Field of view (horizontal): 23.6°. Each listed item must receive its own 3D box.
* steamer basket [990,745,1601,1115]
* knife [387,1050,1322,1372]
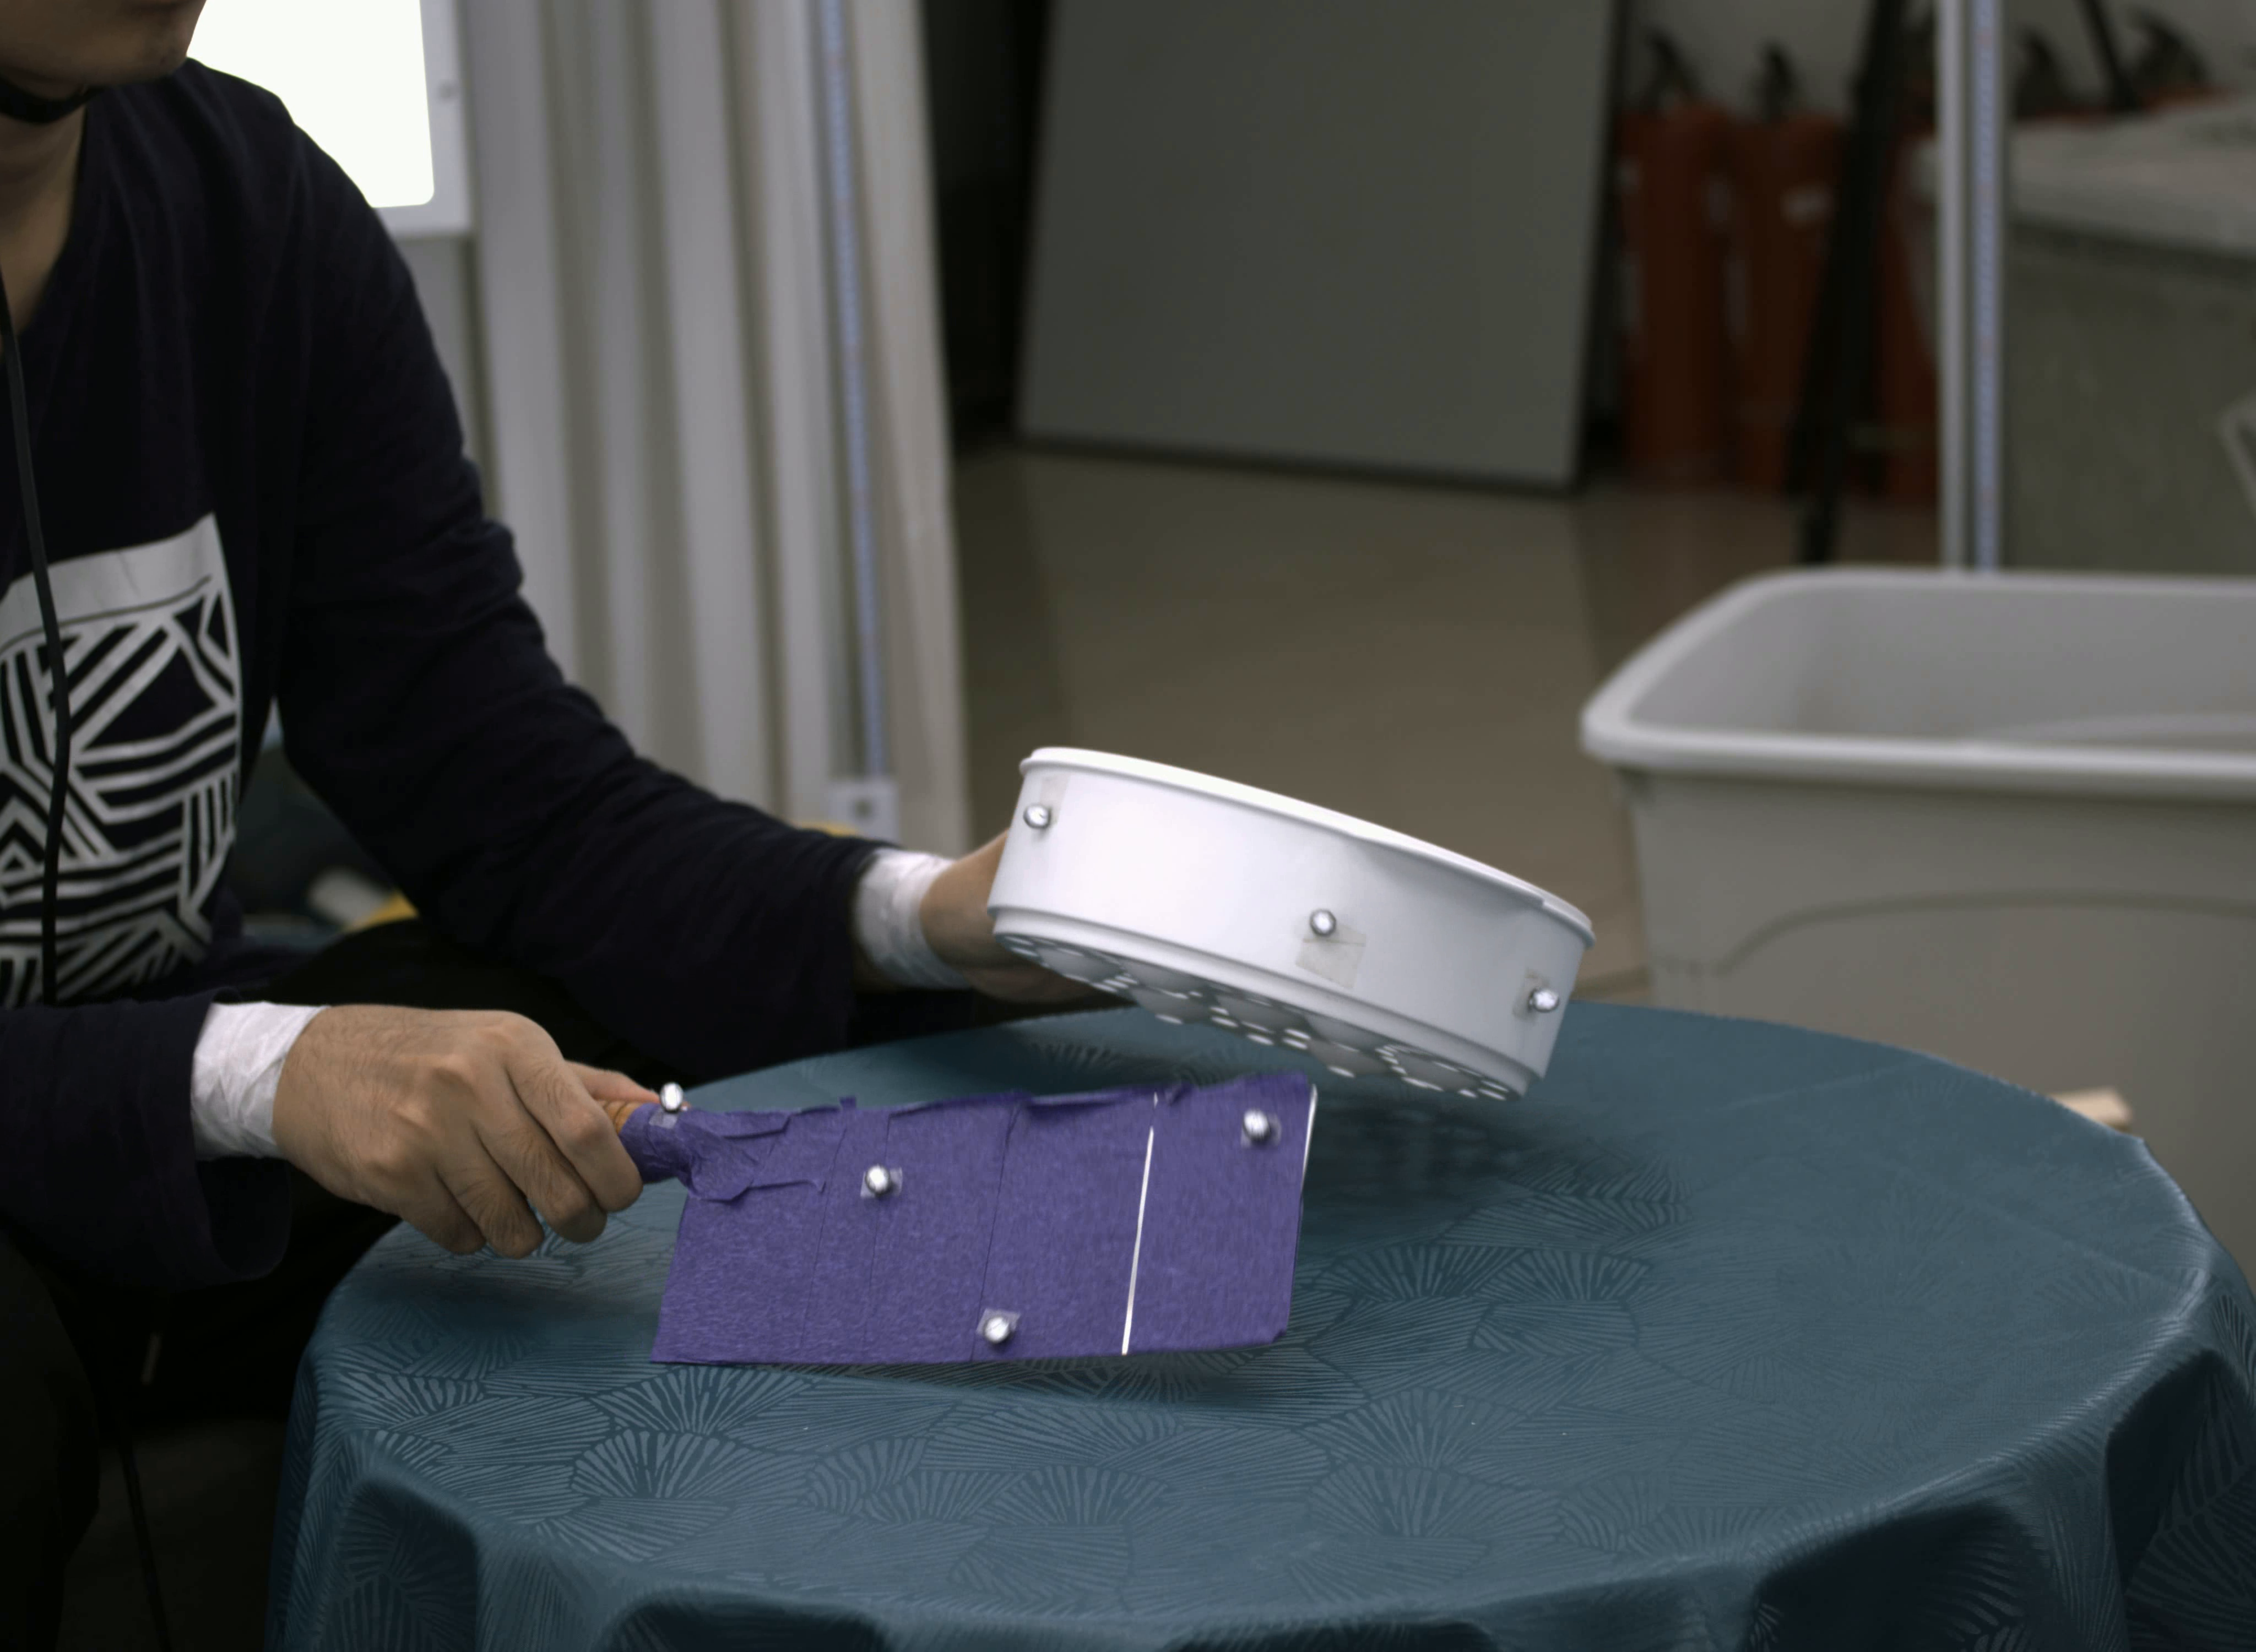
[{"bbox_3d":[0.053,0.039,1.777,0.198,0.070,0.233,22,-11,-24],"label":"steamer basket"},{"bbox_3d":[-0.092,0.121,1.642,0.315,0.032,0.104,-6,51,24],"label":"knife"}]
